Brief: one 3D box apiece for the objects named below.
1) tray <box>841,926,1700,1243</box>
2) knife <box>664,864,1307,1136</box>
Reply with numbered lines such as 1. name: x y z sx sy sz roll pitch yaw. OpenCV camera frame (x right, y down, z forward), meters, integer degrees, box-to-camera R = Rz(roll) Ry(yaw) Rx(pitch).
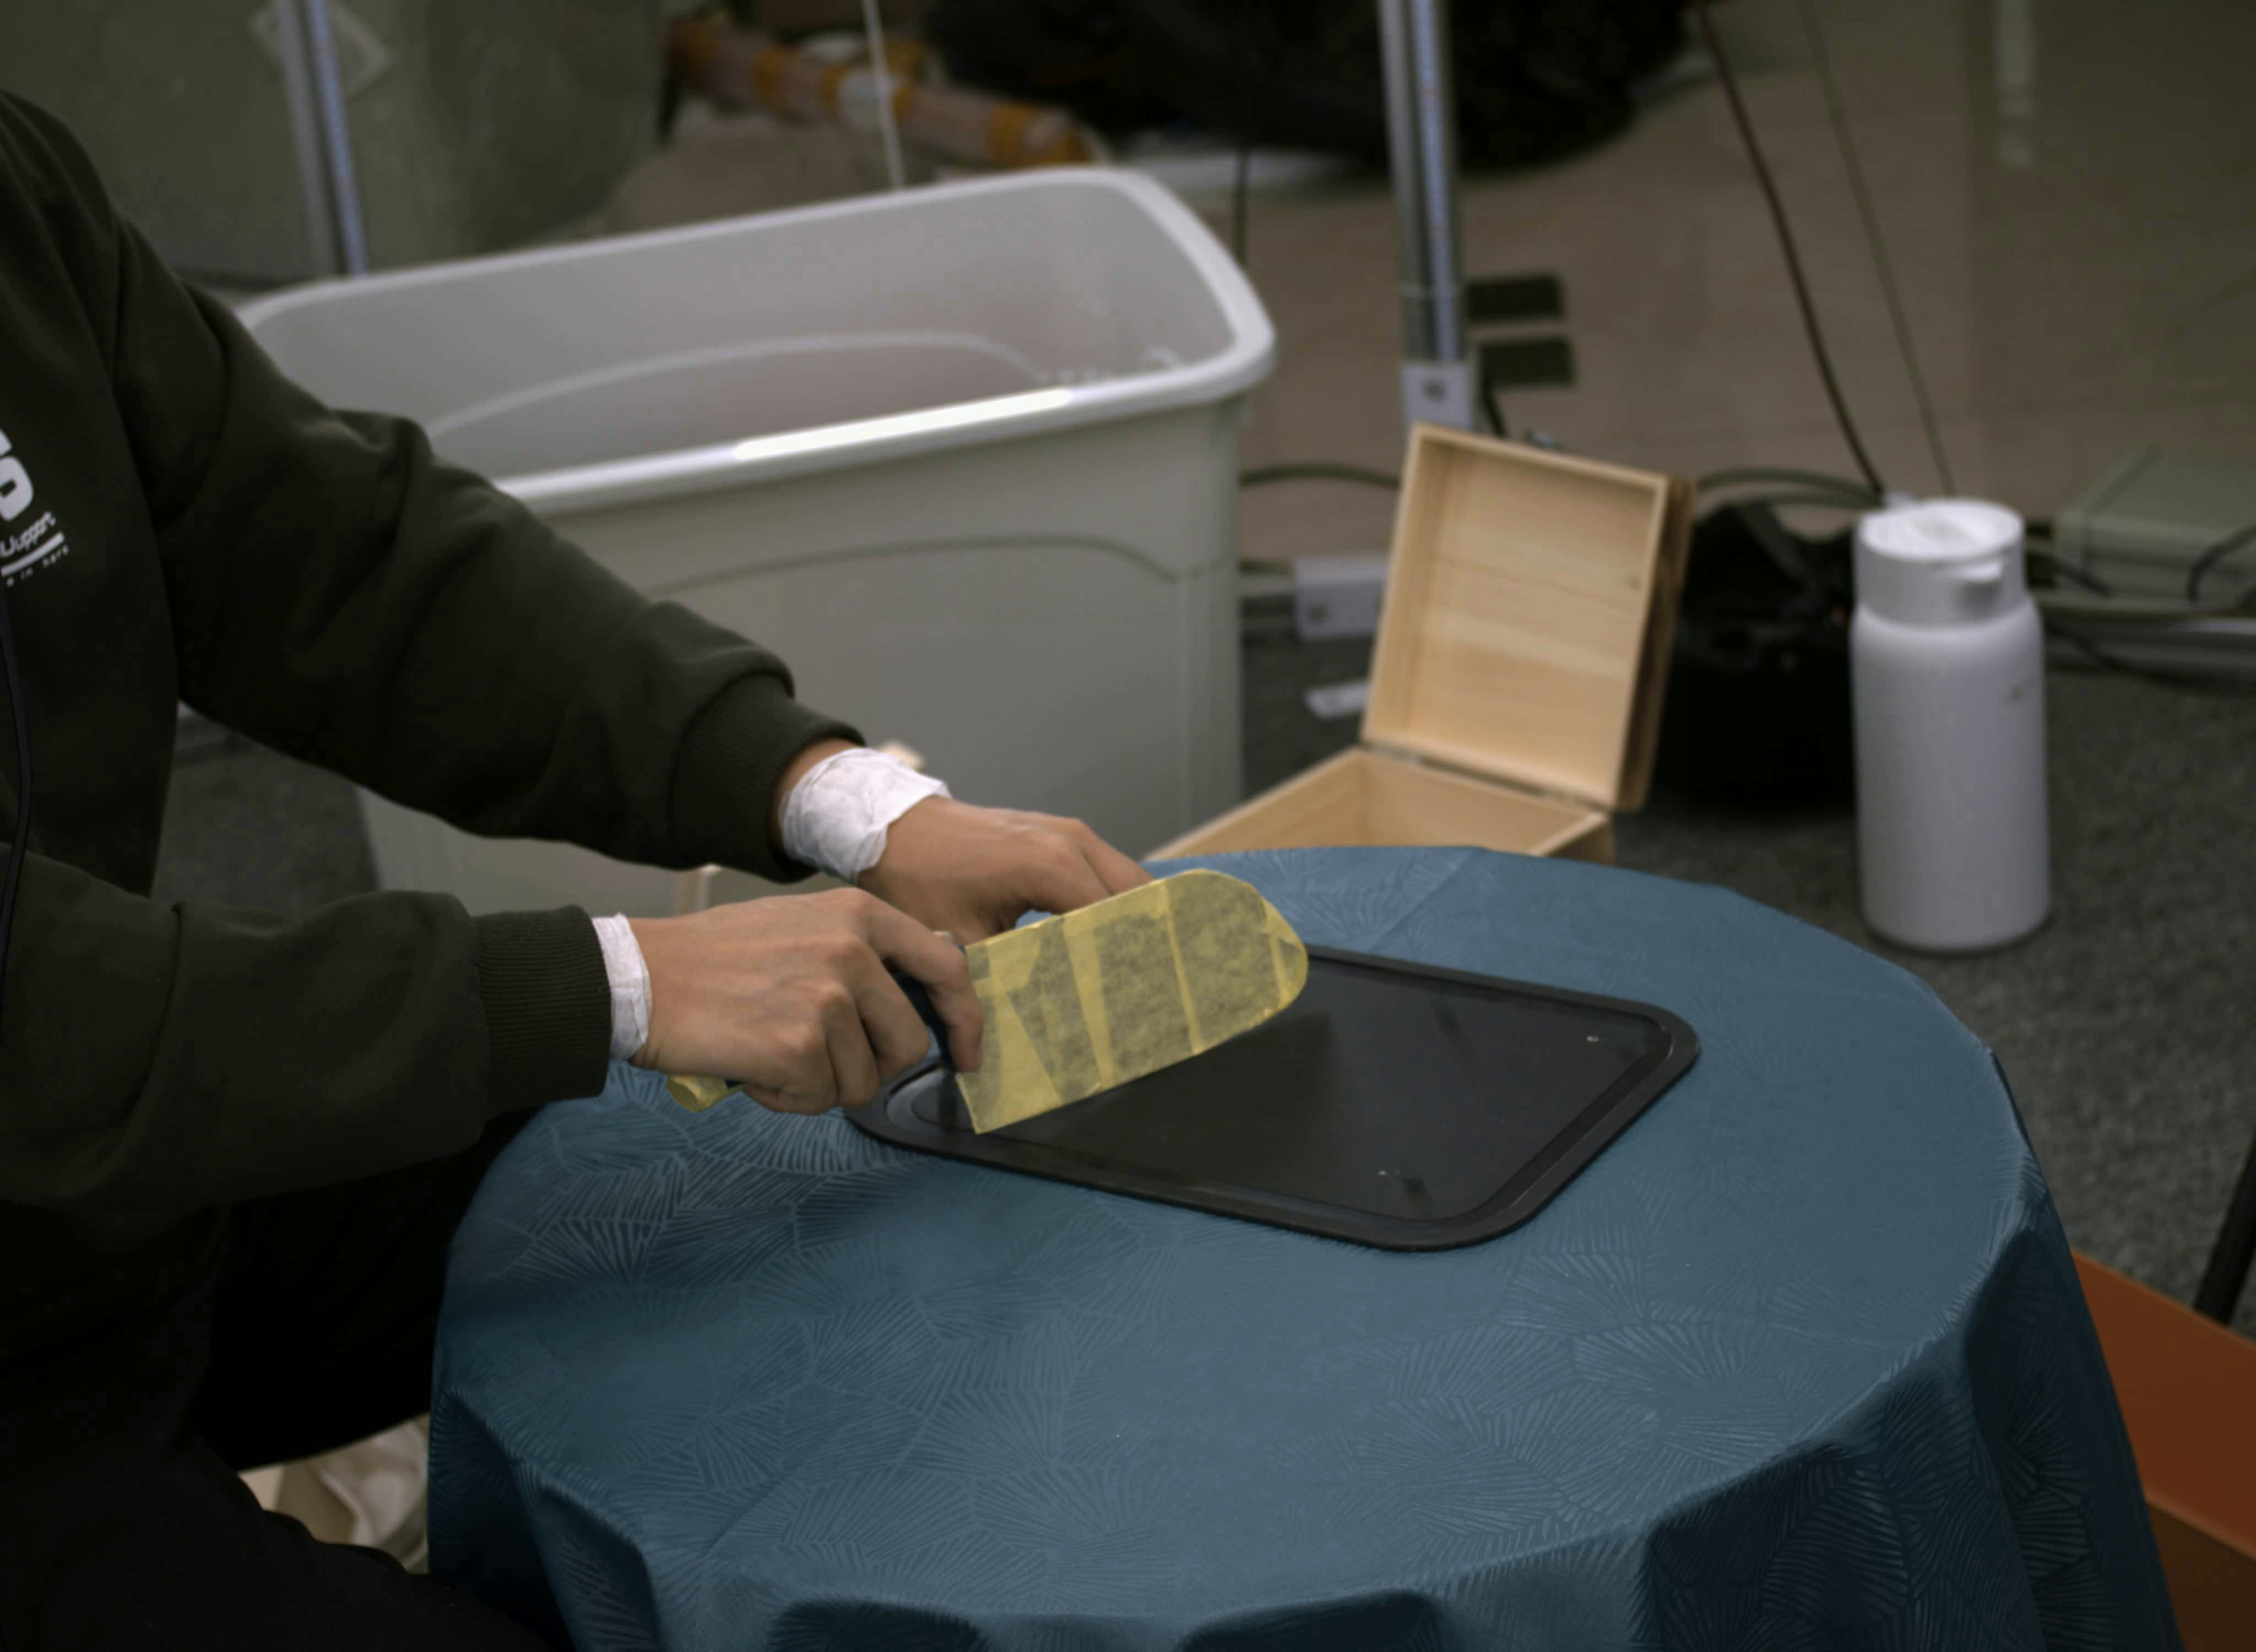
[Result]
1. tray: 0.047 0.094 2.227 0.324 0.010 0.209 10 29 31
2. knife: -0.049 0.077 2.197 0.288 0.081 0.027 -15 9 -29
